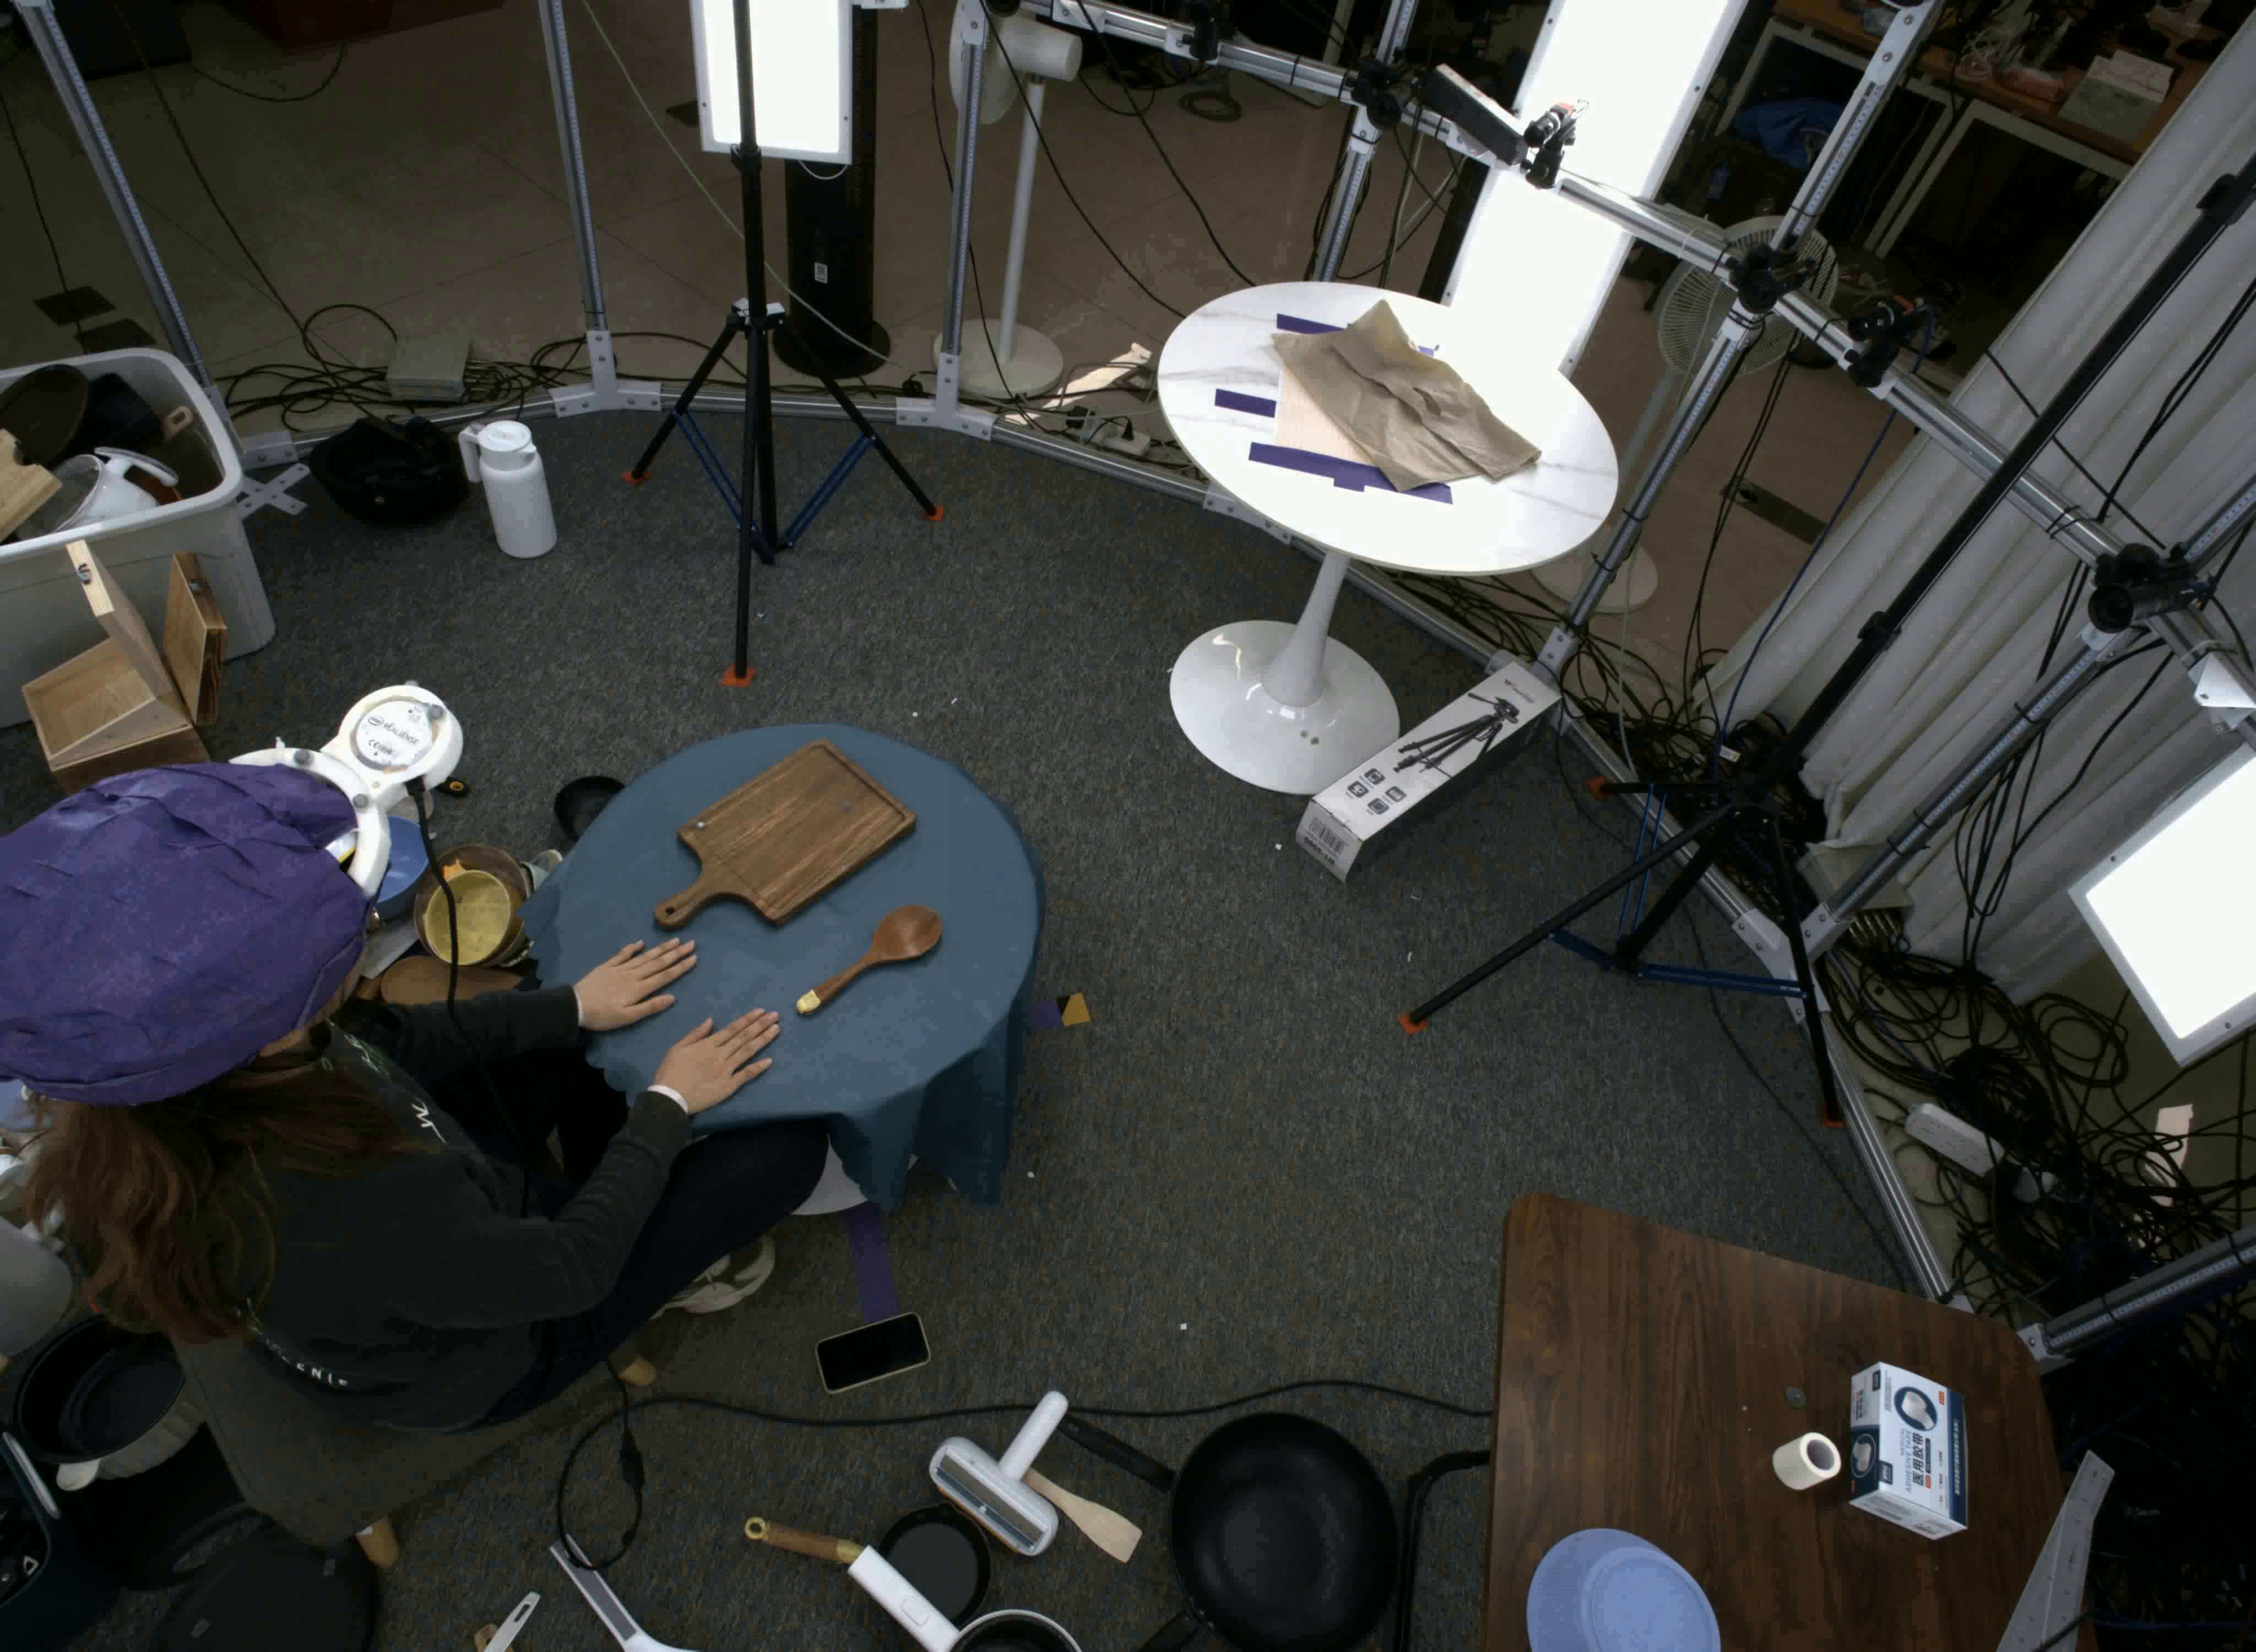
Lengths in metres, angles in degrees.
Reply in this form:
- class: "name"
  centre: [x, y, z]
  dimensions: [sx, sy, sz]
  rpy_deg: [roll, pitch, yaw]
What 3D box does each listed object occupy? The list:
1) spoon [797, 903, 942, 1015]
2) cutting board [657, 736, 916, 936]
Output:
- class: "spoon"
  centre: [-0.323, 0.165, 1.621]
  dimensions: [0.074, 0.017, 0.216]
  rpy_deg: [43, 55, 16]
- class: "cutting board"
  centre: [-0.467, 0.028, 1.687]
  dimensions: [0.197, 0.023, 0.352]
  rpy_deg: [40, 55, 14]
